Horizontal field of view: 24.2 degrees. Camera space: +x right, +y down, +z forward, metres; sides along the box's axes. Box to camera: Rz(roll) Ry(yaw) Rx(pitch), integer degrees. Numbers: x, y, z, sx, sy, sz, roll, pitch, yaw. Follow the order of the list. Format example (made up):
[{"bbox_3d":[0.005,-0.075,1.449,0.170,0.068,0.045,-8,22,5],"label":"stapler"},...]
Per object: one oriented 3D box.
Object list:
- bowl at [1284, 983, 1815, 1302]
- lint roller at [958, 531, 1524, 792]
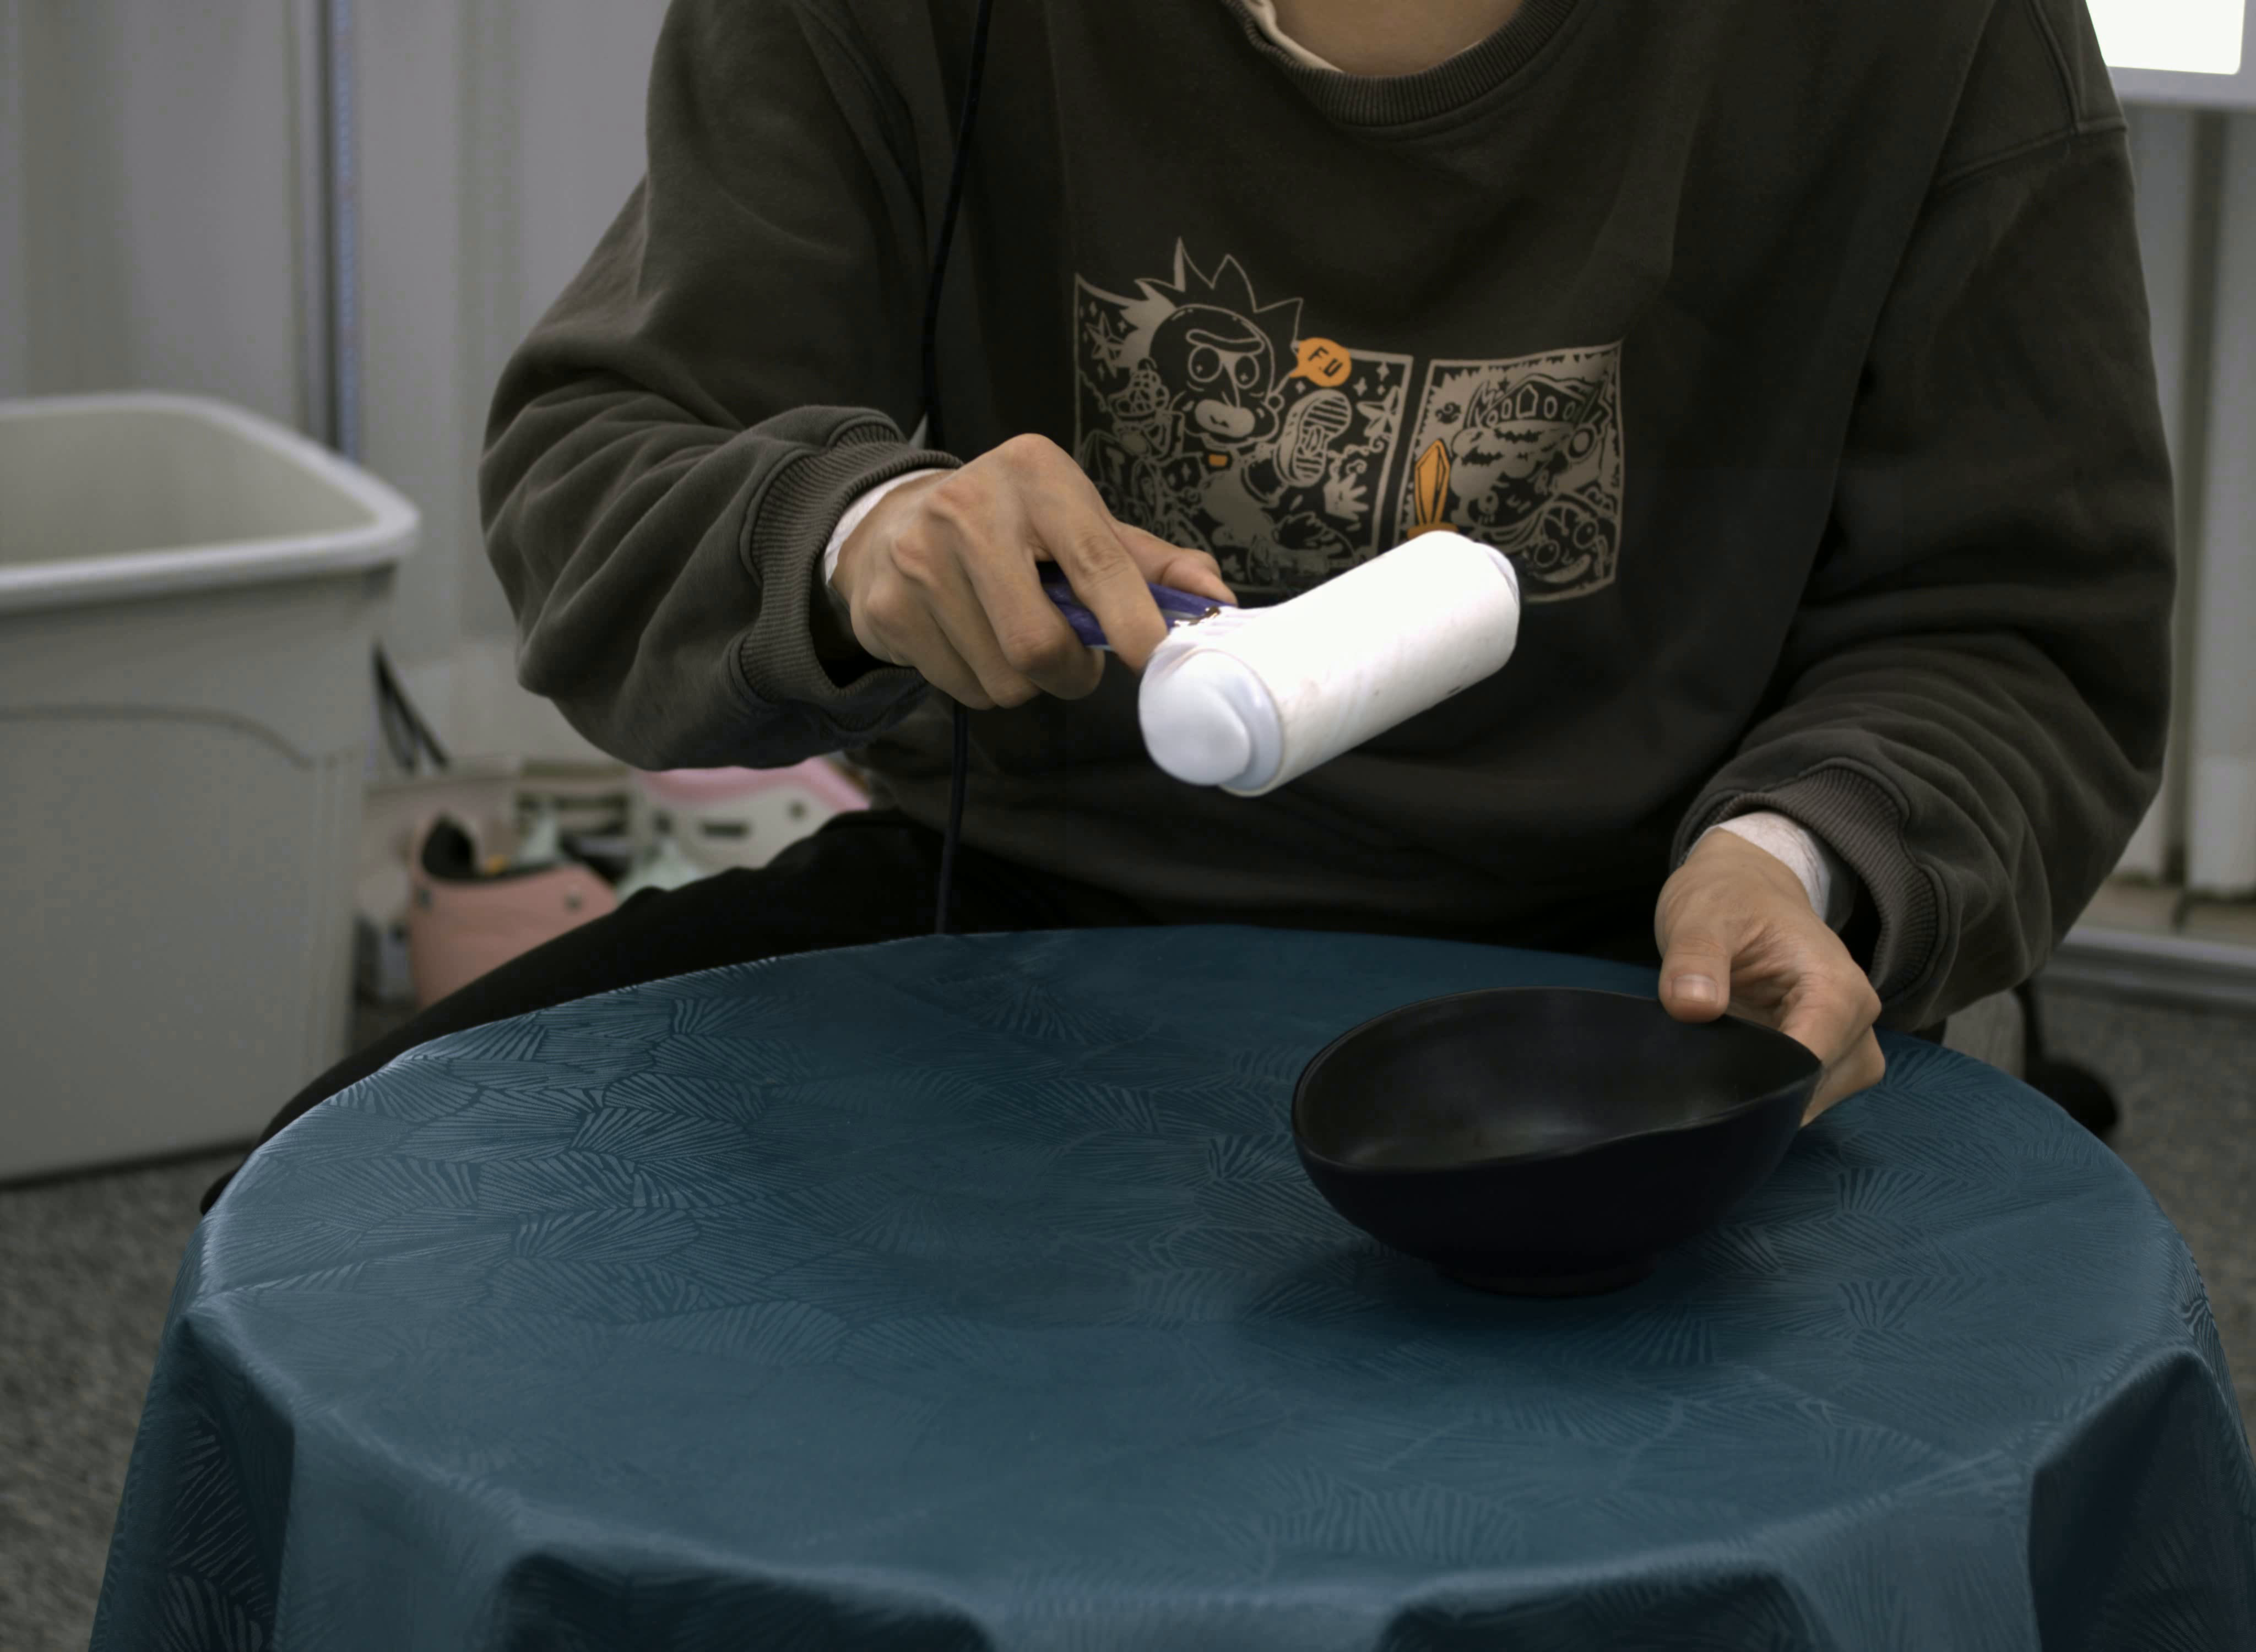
[{"bbox_3d":[0.126,0.100,1.564,0.171,0.067,0.135,-14,20,-37],"label":"bowl"},{"bbox_3d":[0.017,-0.068,1.553,0.133,0.051,0.178,-26,37,-38],"label":"lint roller"}]
